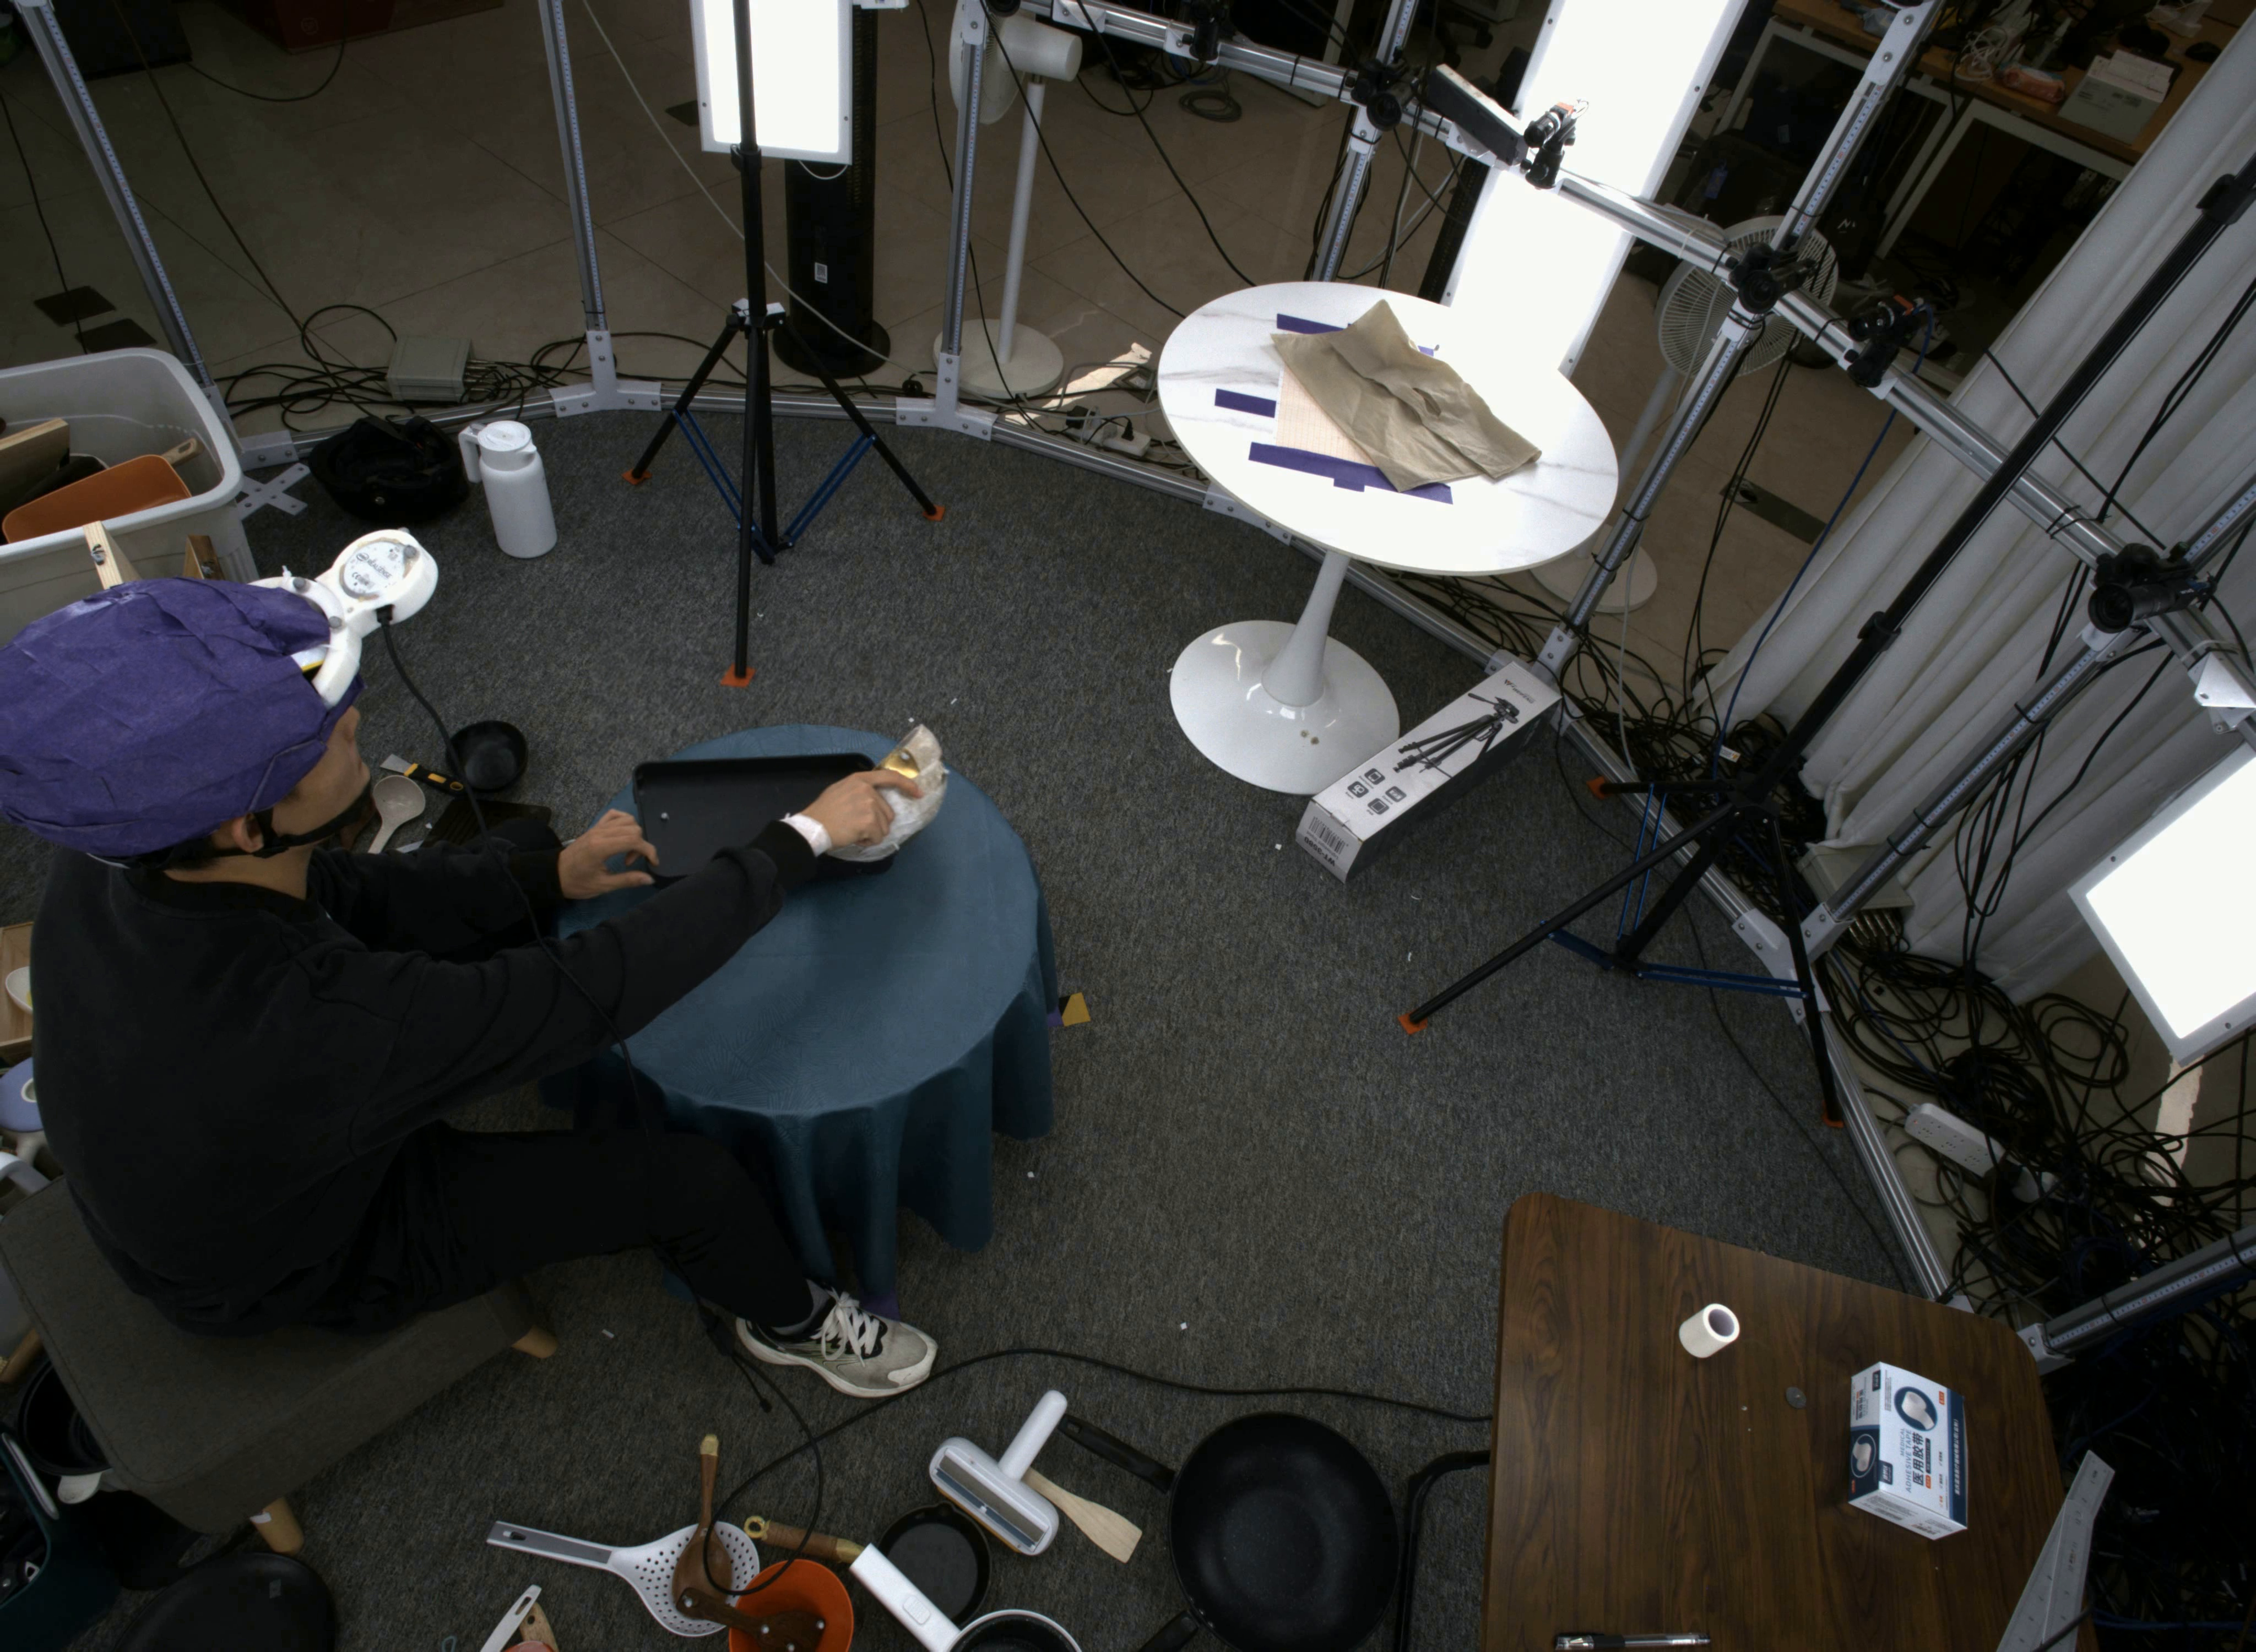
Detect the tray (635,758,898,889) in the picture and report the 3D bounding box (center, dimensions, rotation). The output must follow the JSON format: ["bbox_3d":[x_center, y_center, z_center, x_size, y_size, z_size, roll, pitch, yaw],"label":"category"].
[{"bbox_3d":[-0.468,-0.009,1.672,0.322,0.037,0.180,-2,53,-30],"label":"tray"}]

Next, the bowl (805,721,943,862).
[{"bbox_3d":[-0.304,-0.026,1.645,0.096,0.212,0.213,43,50,-14],"label":"bowl"}]
